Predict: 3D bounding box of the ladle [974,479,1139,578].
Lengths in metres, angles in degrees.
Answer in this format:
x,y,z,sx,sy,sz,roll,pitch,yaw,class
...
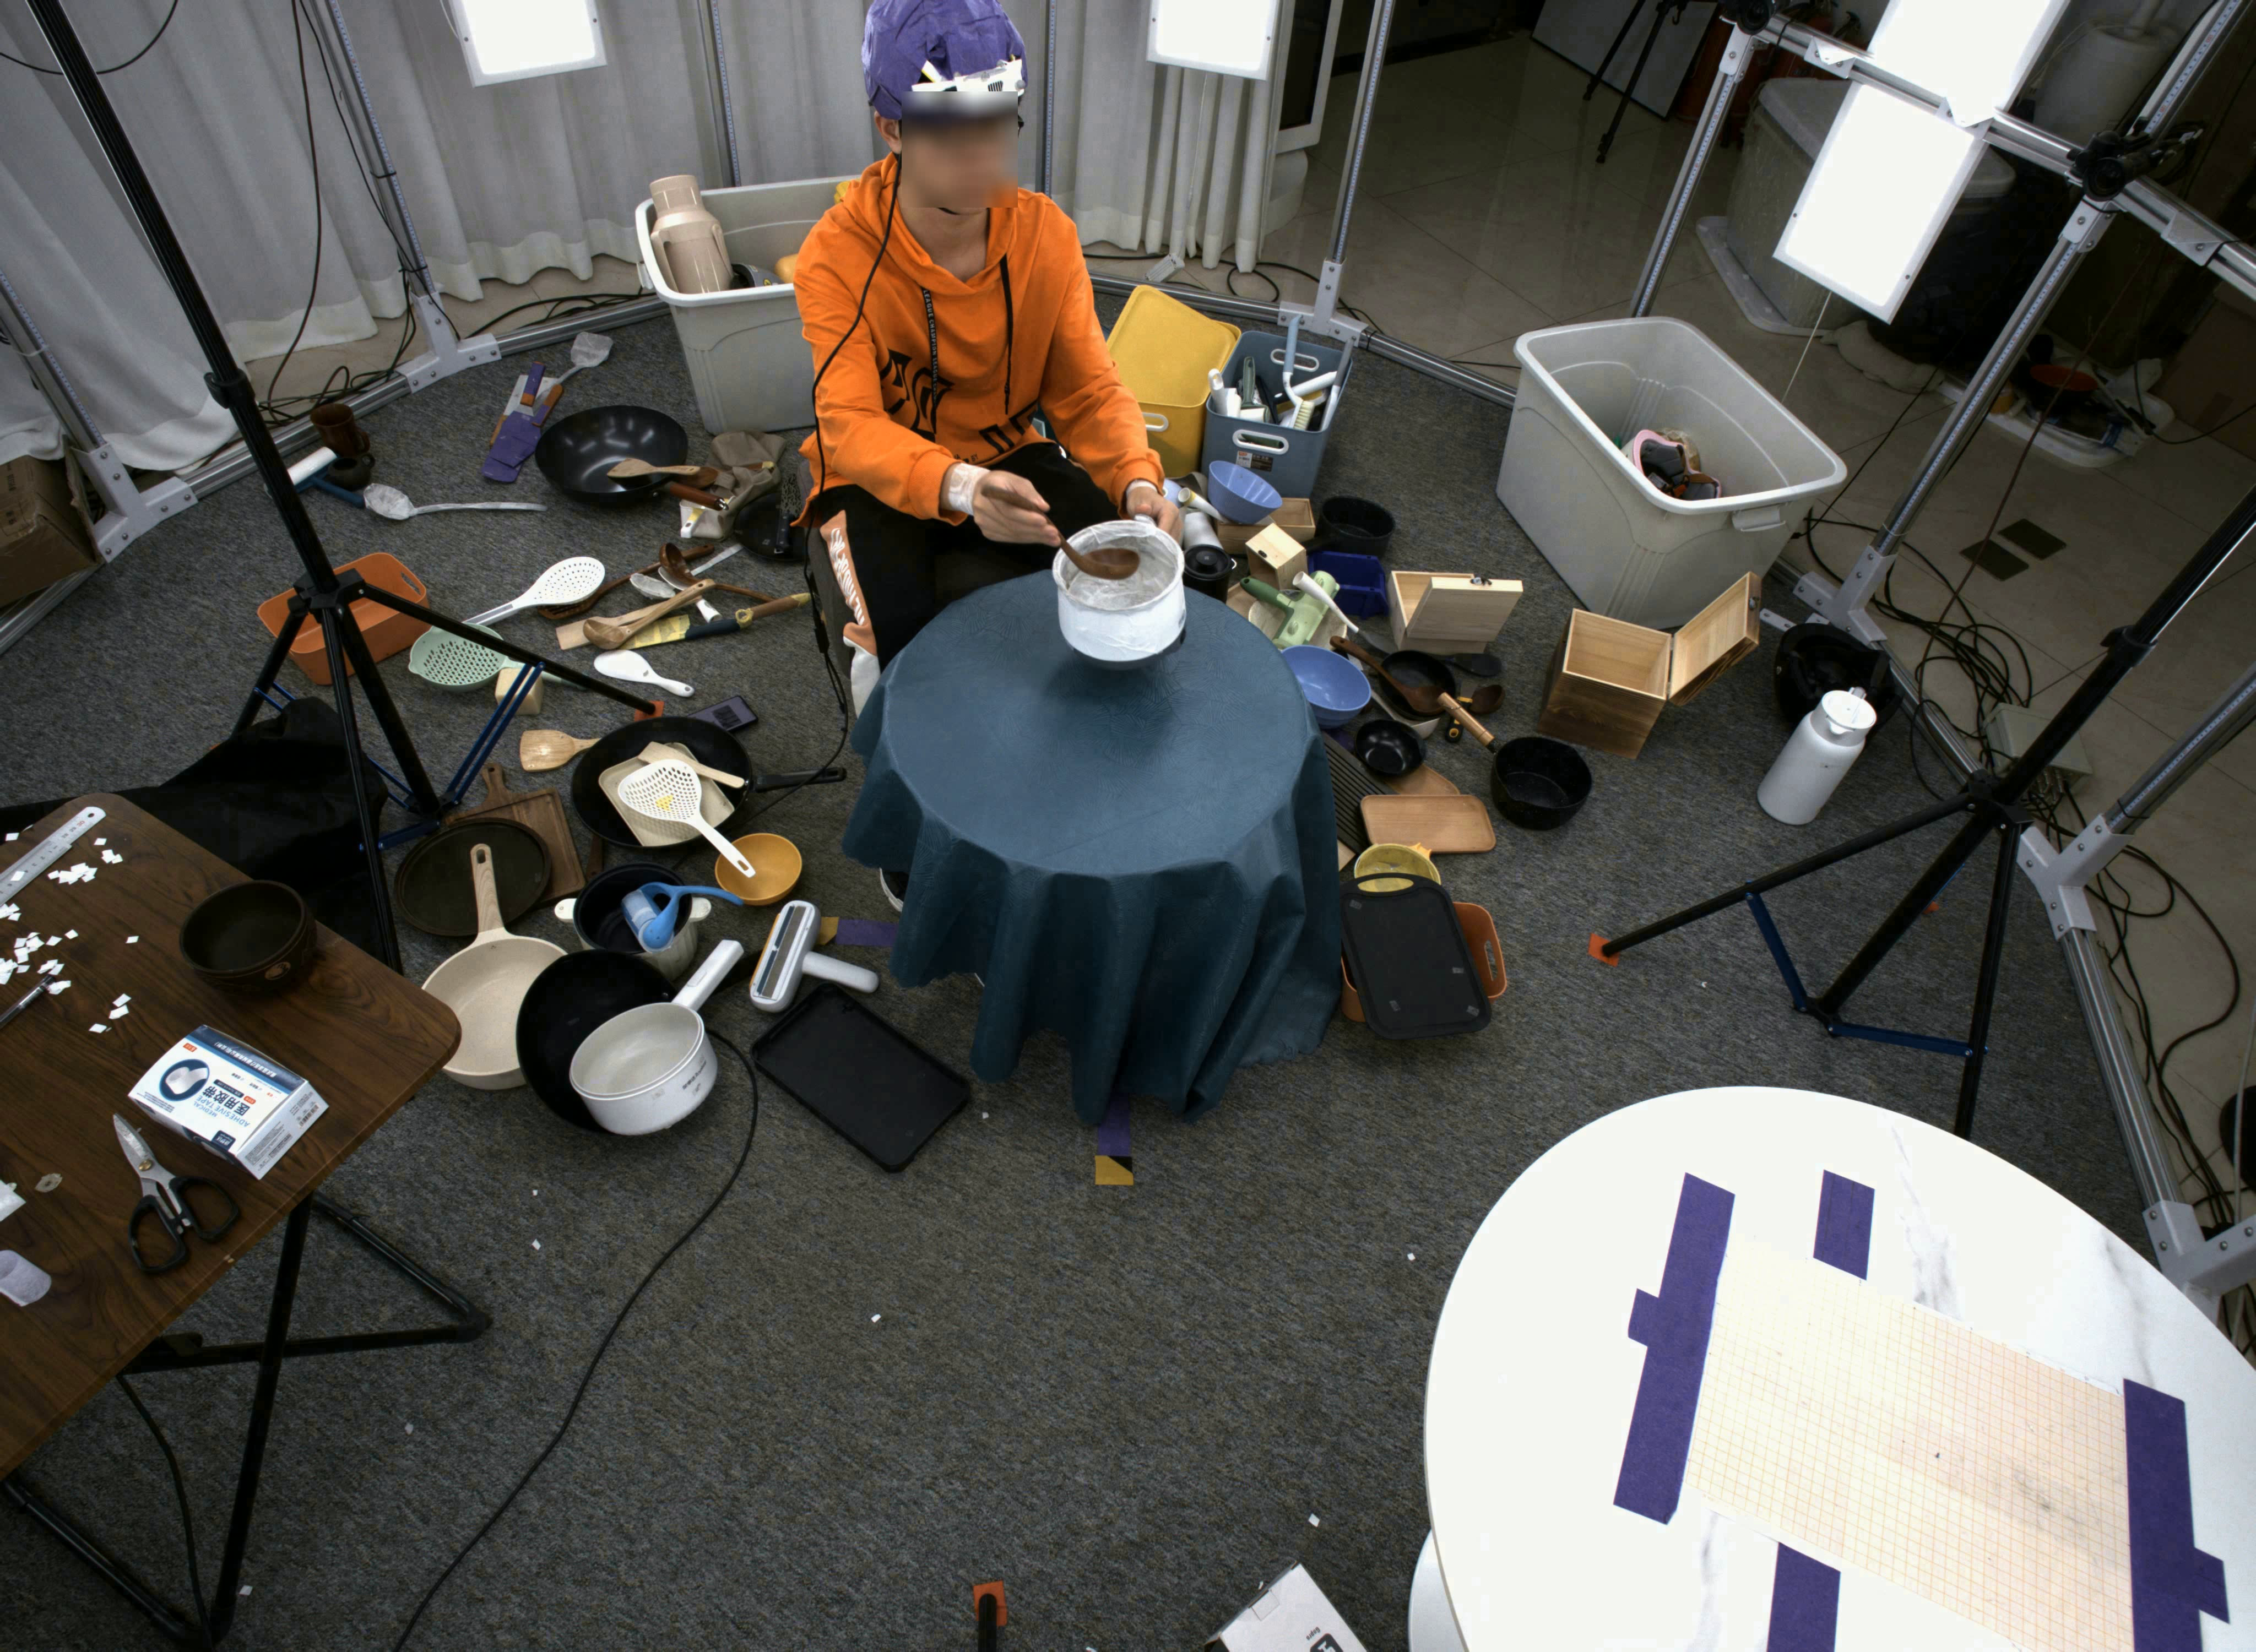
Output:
x,y,z,sx,sy,sz,roll,pitch,yaw,class
-0.084,-0.379,1.605,0.077,0.256,0.065,24,85,47,ladle

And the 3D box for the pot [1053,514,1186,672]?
x,y,z,sx,sy,sz,roll,pitch,yaw,class
-0.001,-0.334,1.787,0.179,0.133,0.238,12,54,12,pot
